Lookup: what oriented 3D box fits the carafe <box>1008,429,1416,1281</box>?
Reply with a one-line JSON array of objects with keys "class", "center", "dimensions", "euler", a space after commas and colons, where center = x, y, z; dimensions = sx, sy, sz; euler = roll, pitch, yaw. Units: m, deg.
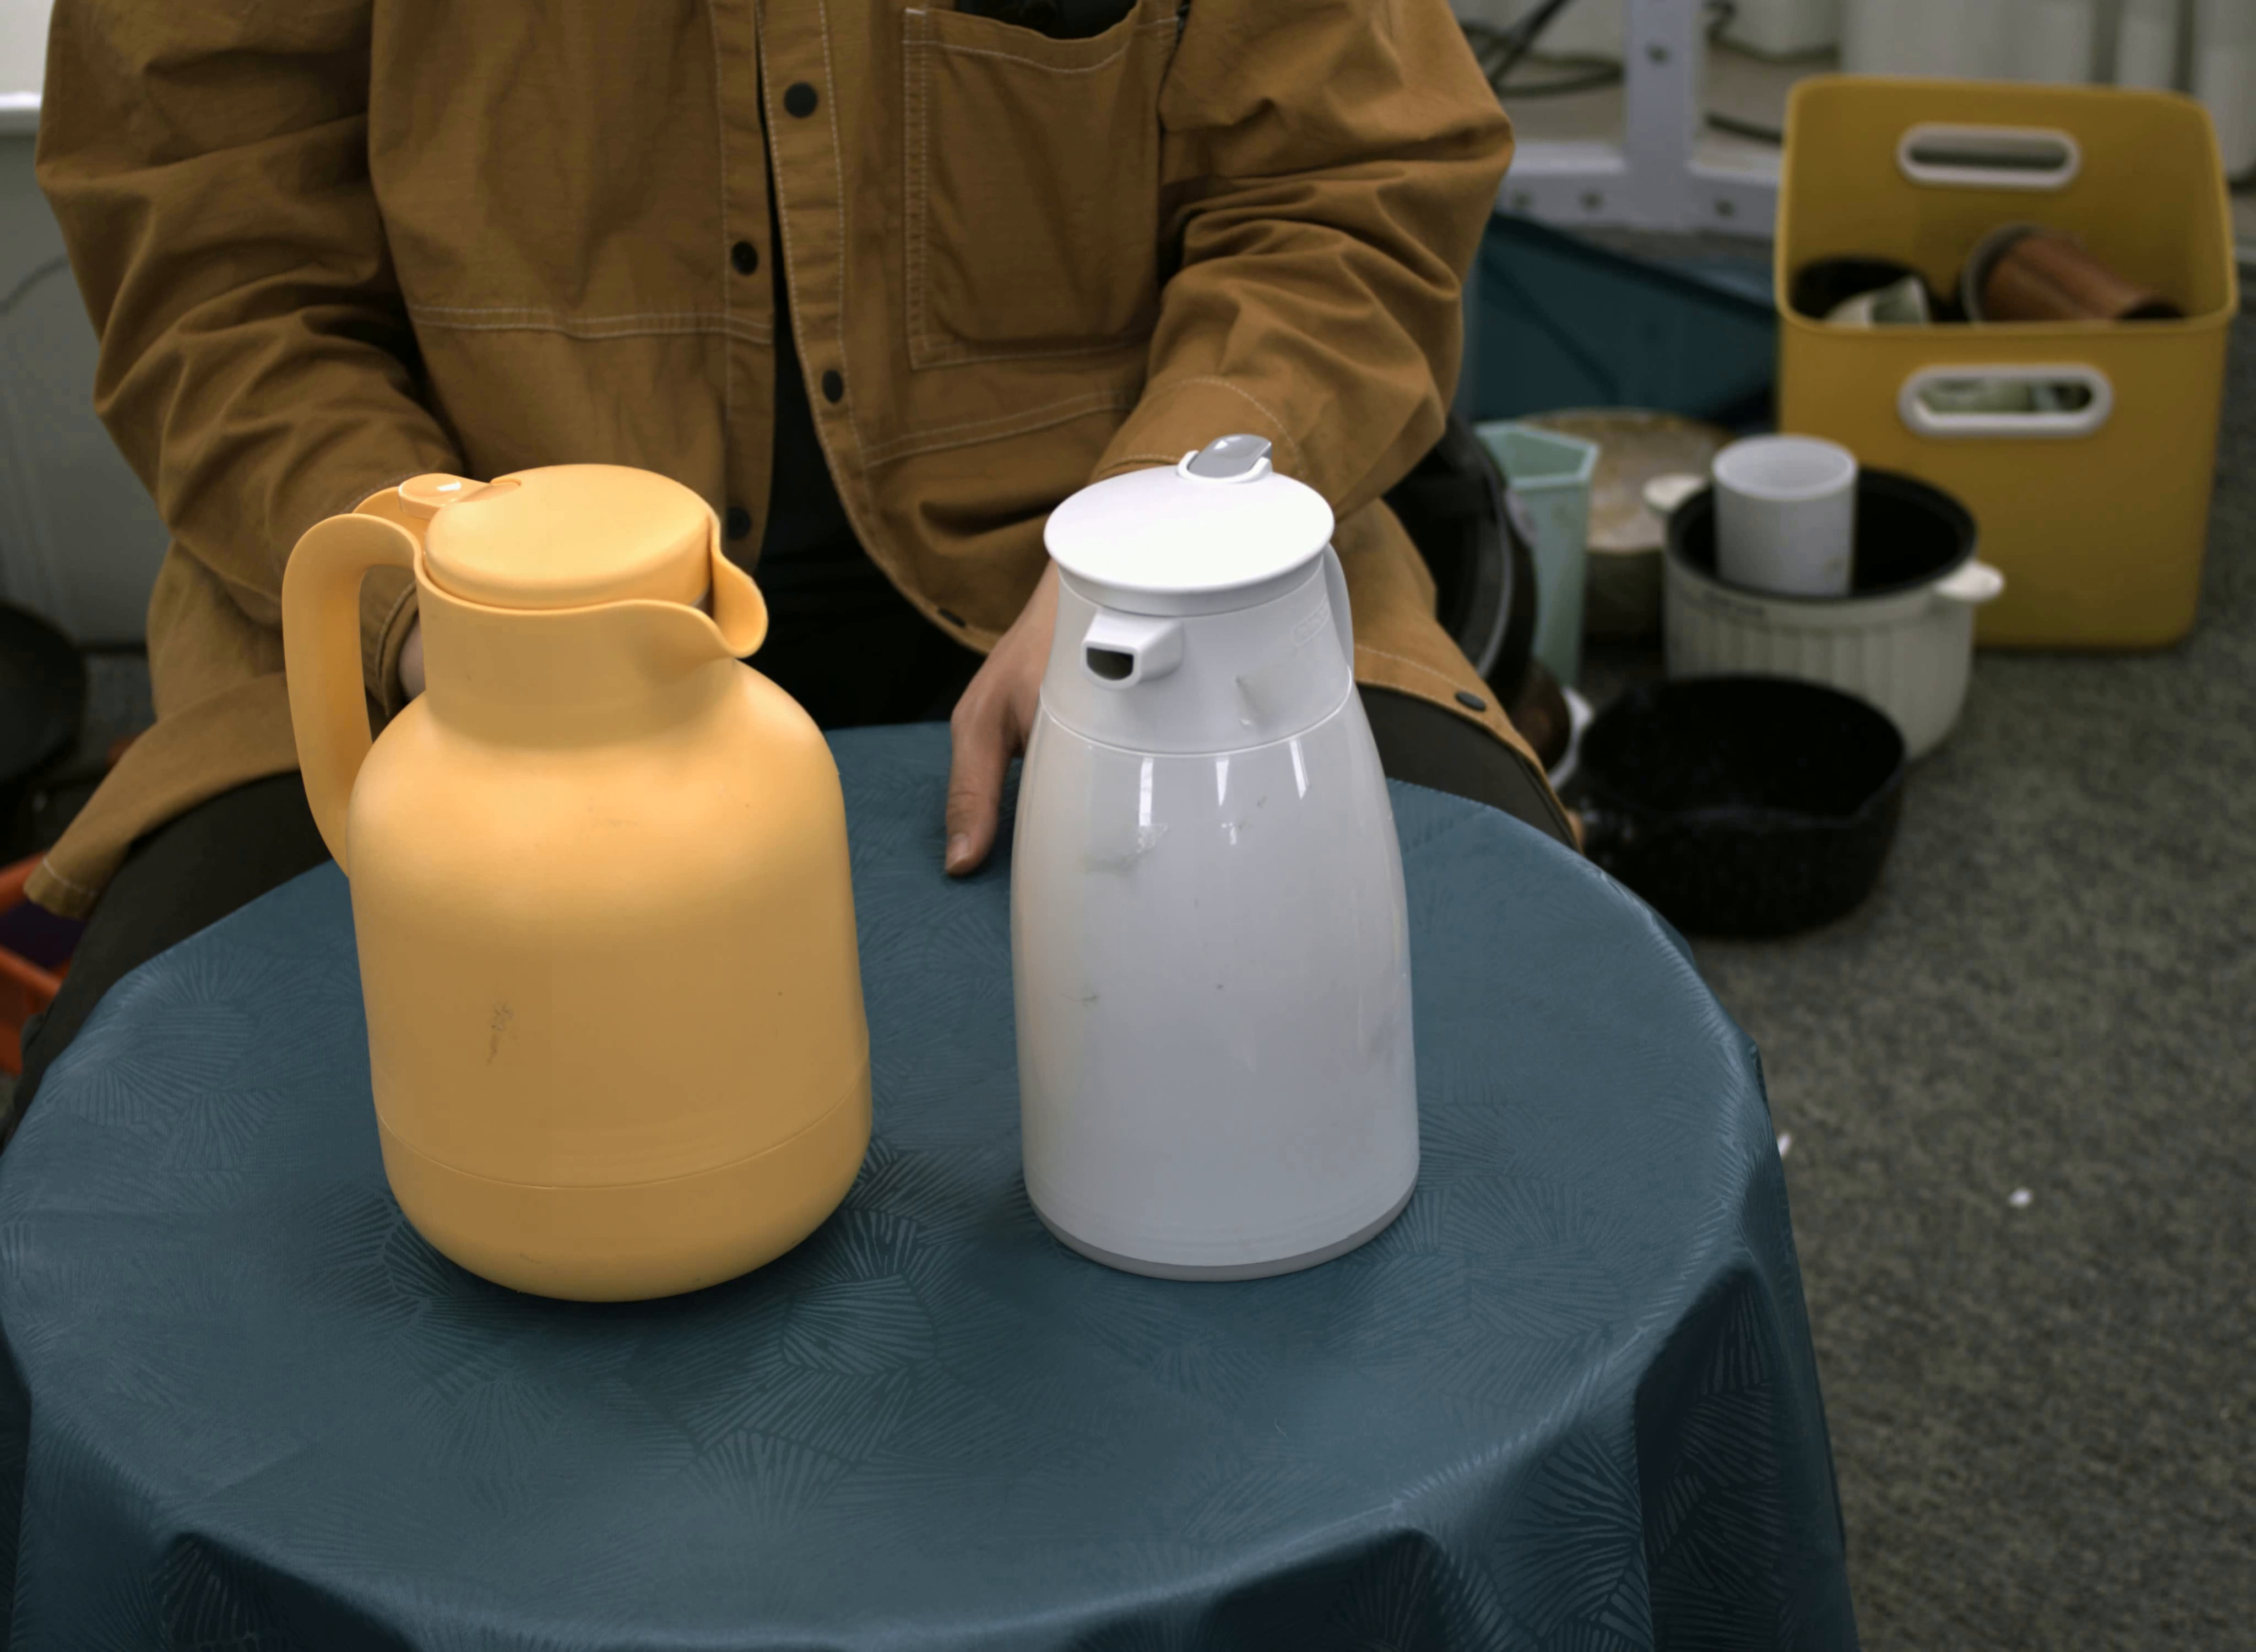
[{"class": "carafe", "center": [0.031, -0.002, 1.828], "dimensions": [0.131, 0.246, 0.170], "euler": [8, 28, 22]}]

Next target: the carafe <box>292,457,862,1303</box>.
[{"class": "carafe", "center": [-0.184, 0.007, 1.819], "dimensions": [0.202, 0.258, 0.165], "euler": [18, 31, 34]}]
